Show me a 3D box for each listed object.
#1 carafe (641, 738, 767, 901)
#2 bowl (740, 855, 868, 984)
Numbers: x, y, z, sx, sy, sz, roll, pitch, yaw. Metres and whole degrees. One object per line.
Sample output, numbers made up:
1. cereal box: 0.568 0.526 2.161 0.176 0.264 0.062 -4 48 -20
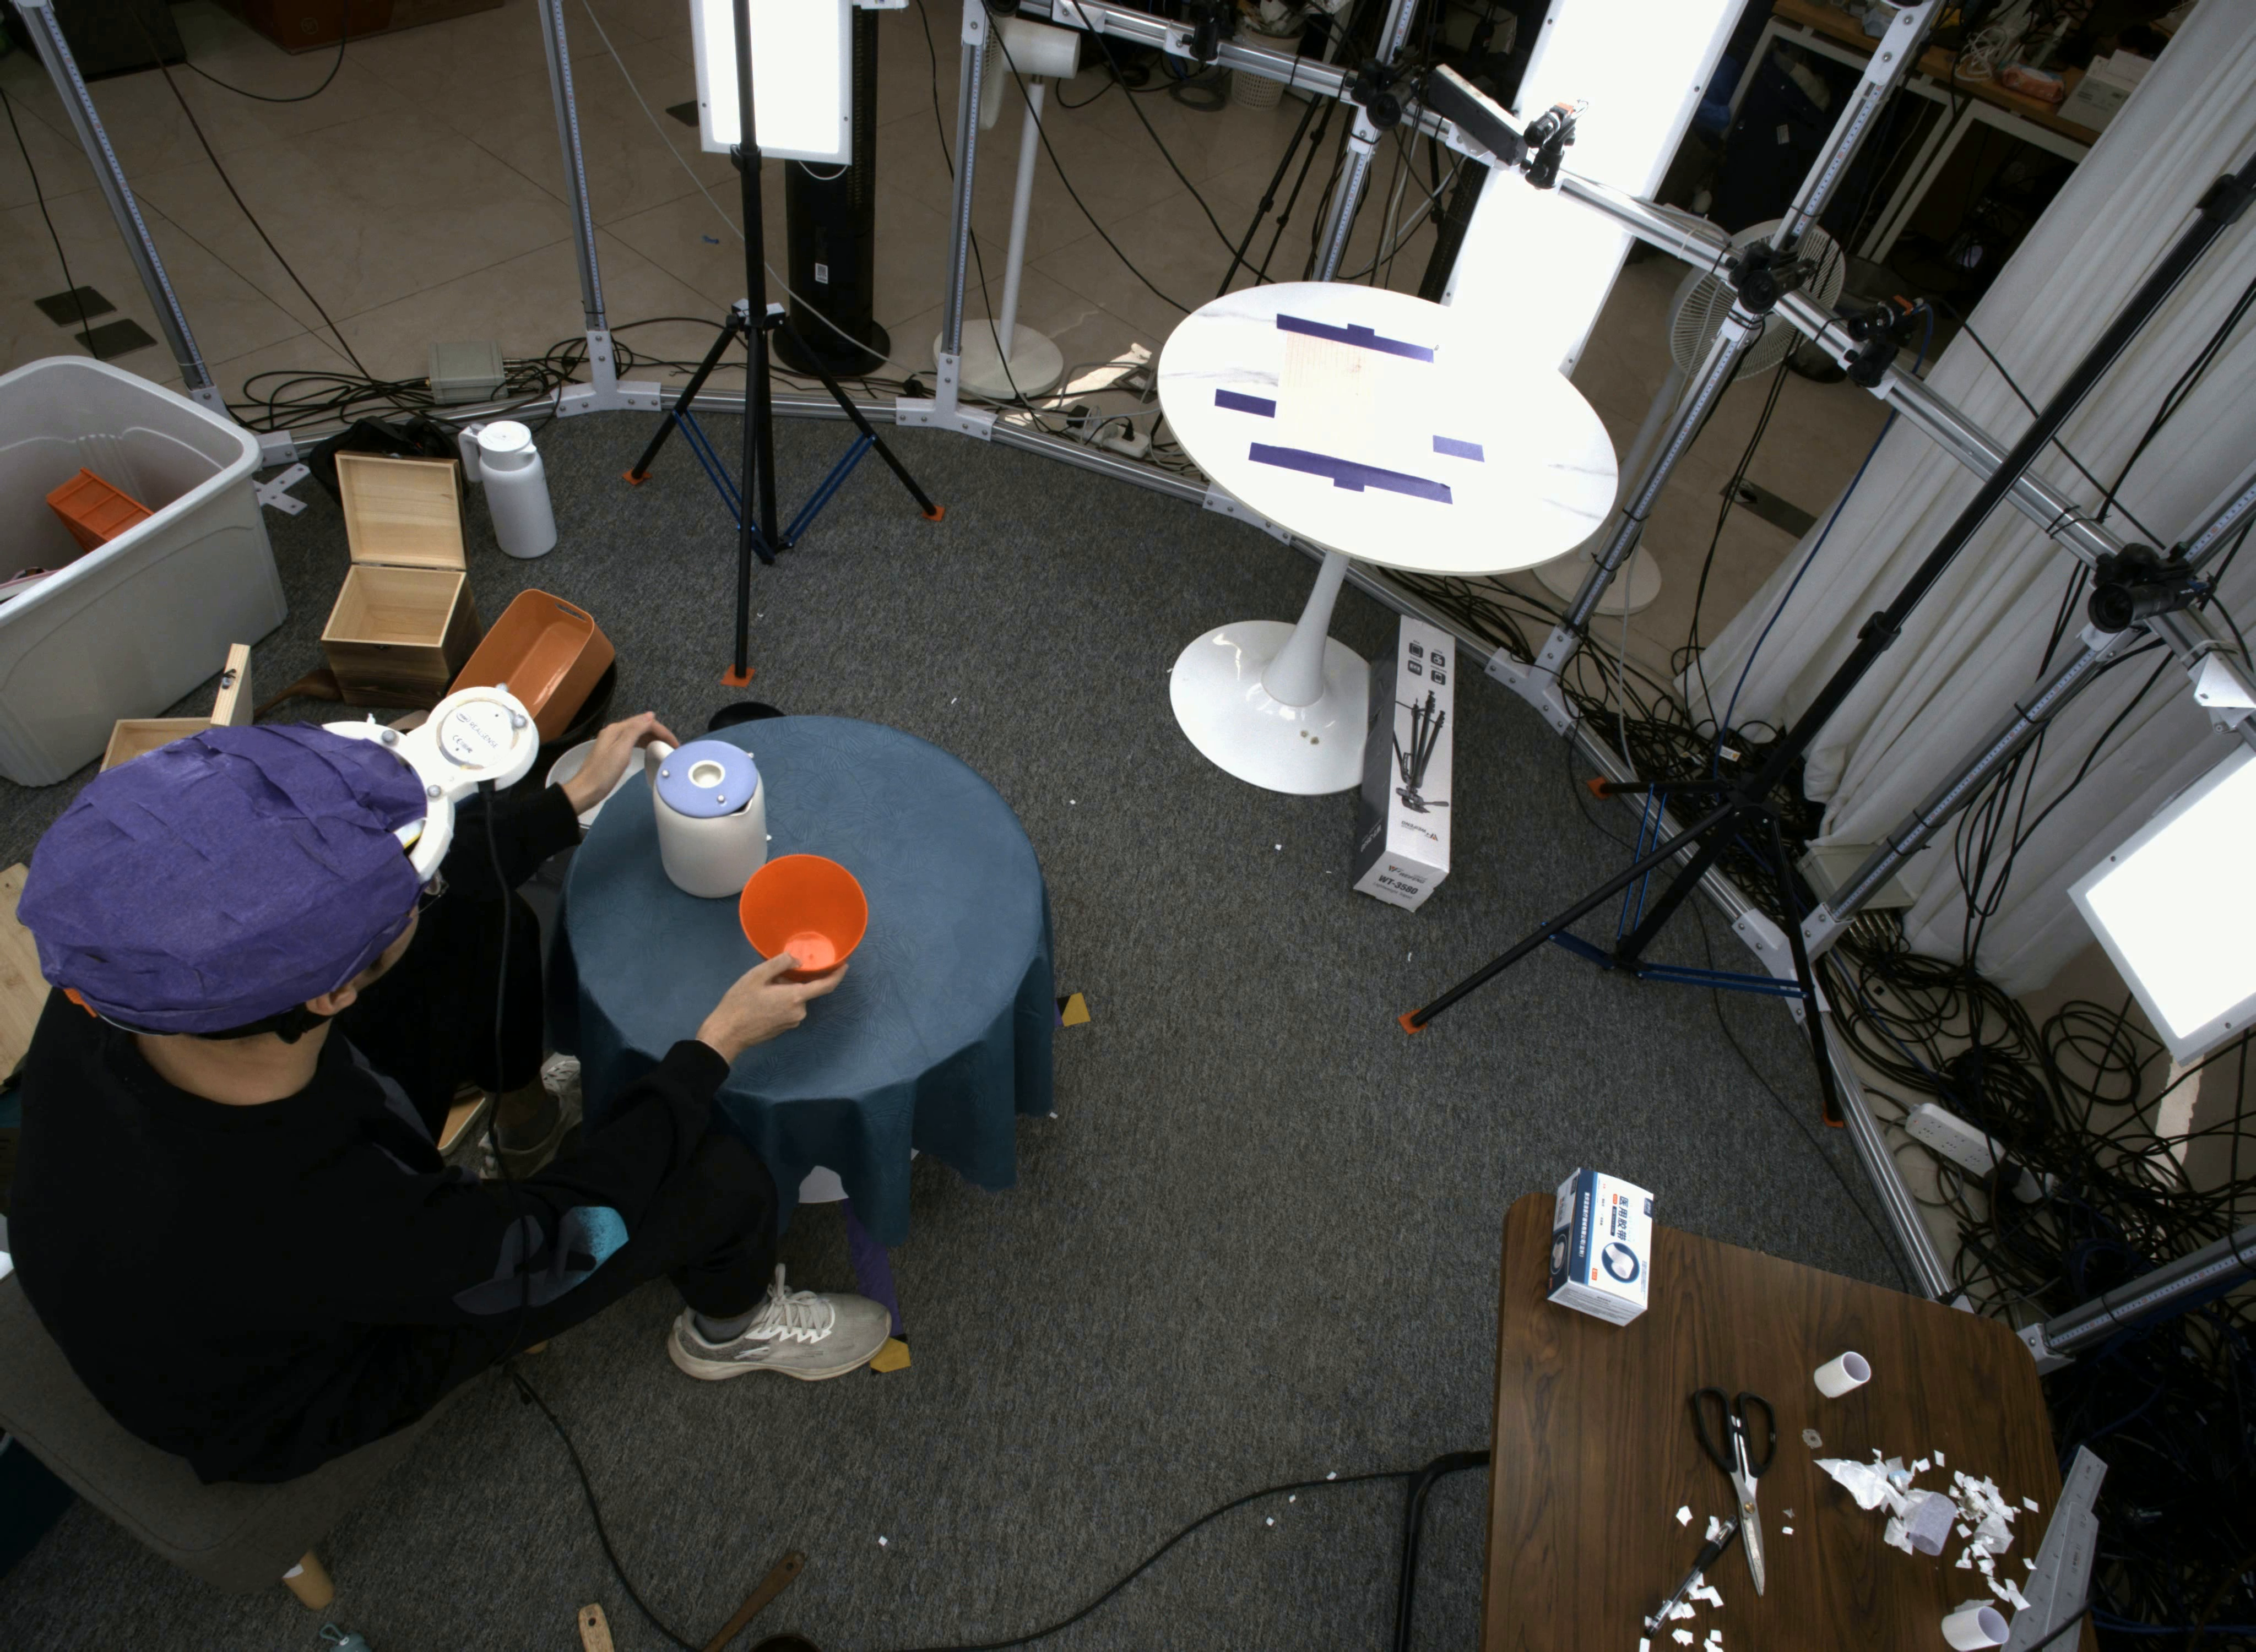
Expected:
1. carafe: -0.538 -0.022 1.606 0.187 0.187 0.132 33 52 16
2. bowl: -0.386 0.122 1.551 0.148 0.106 0.145 9 52 -9
